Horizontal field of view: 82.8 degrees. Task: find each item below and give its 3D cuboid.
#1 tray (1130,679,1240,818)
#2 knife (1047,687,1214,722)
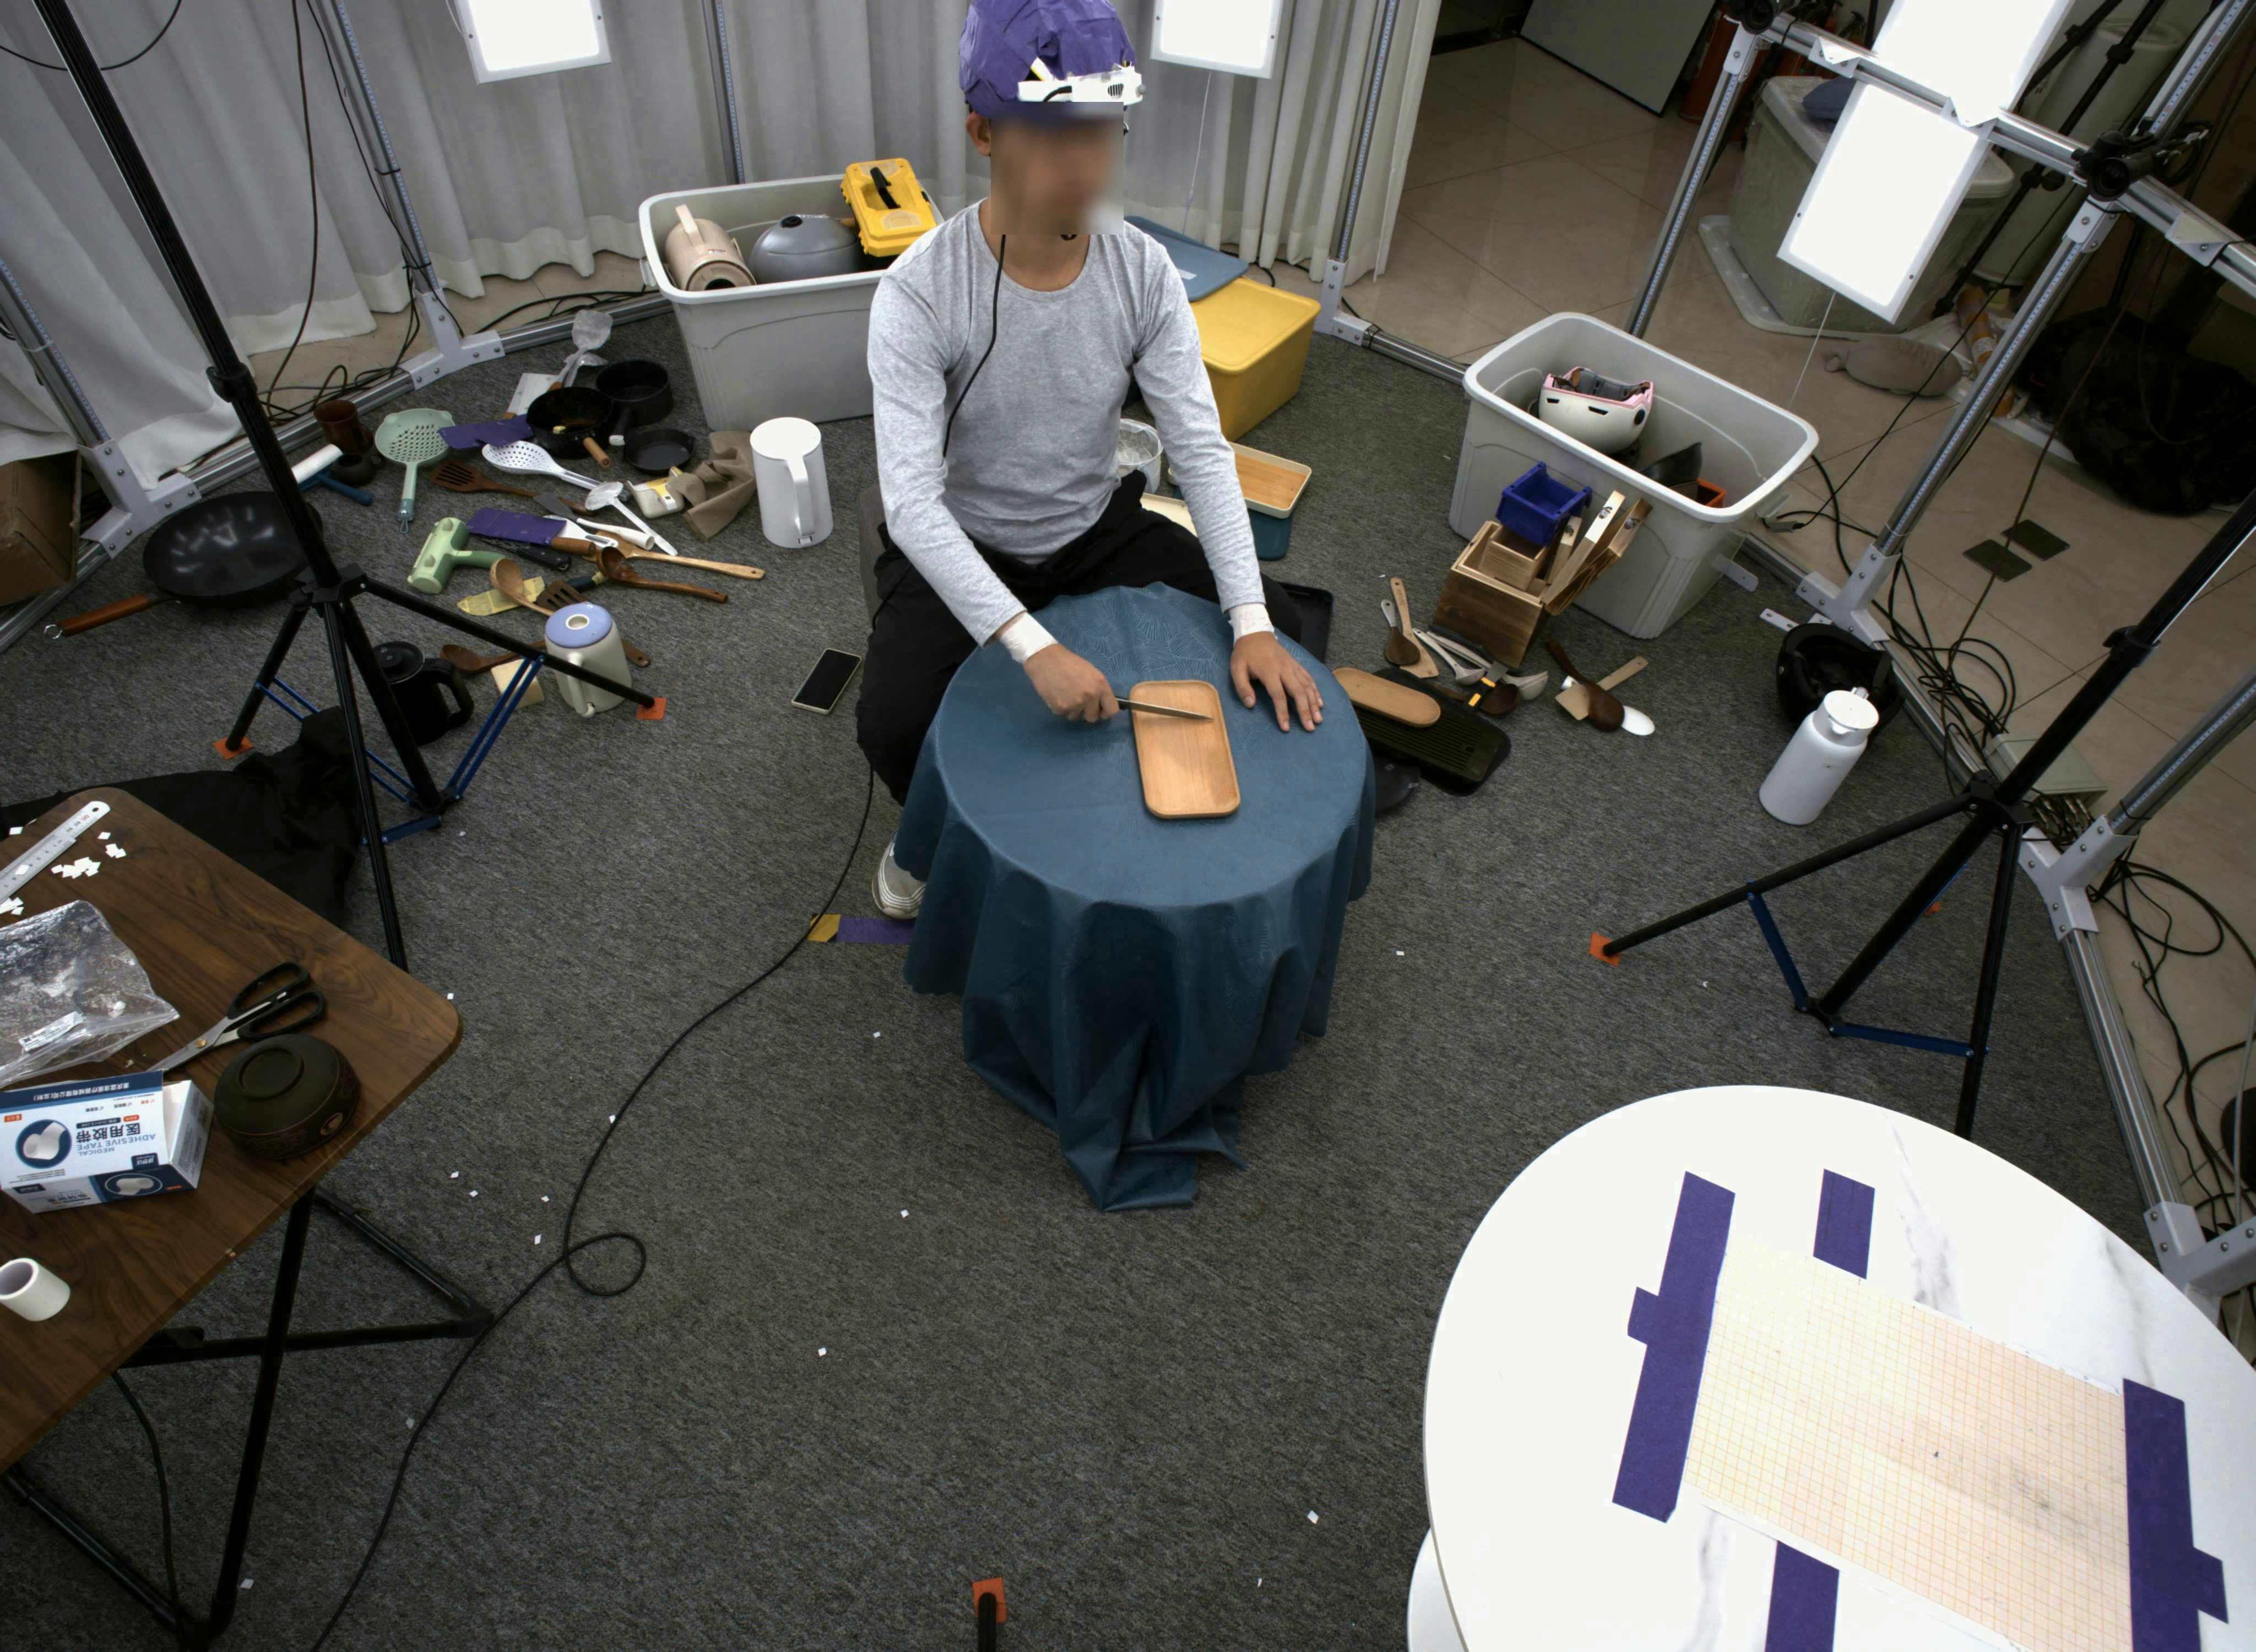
[{"bbox_3d":[0.075,-0.109,1.756,0.130,0.022,0.257,0,48,-7],"label":"tray"},{"bbox_3d":[0.006,-0.166,1.773,0.237,0.024,0.016,9,64,-10],"label":"knife"}]
